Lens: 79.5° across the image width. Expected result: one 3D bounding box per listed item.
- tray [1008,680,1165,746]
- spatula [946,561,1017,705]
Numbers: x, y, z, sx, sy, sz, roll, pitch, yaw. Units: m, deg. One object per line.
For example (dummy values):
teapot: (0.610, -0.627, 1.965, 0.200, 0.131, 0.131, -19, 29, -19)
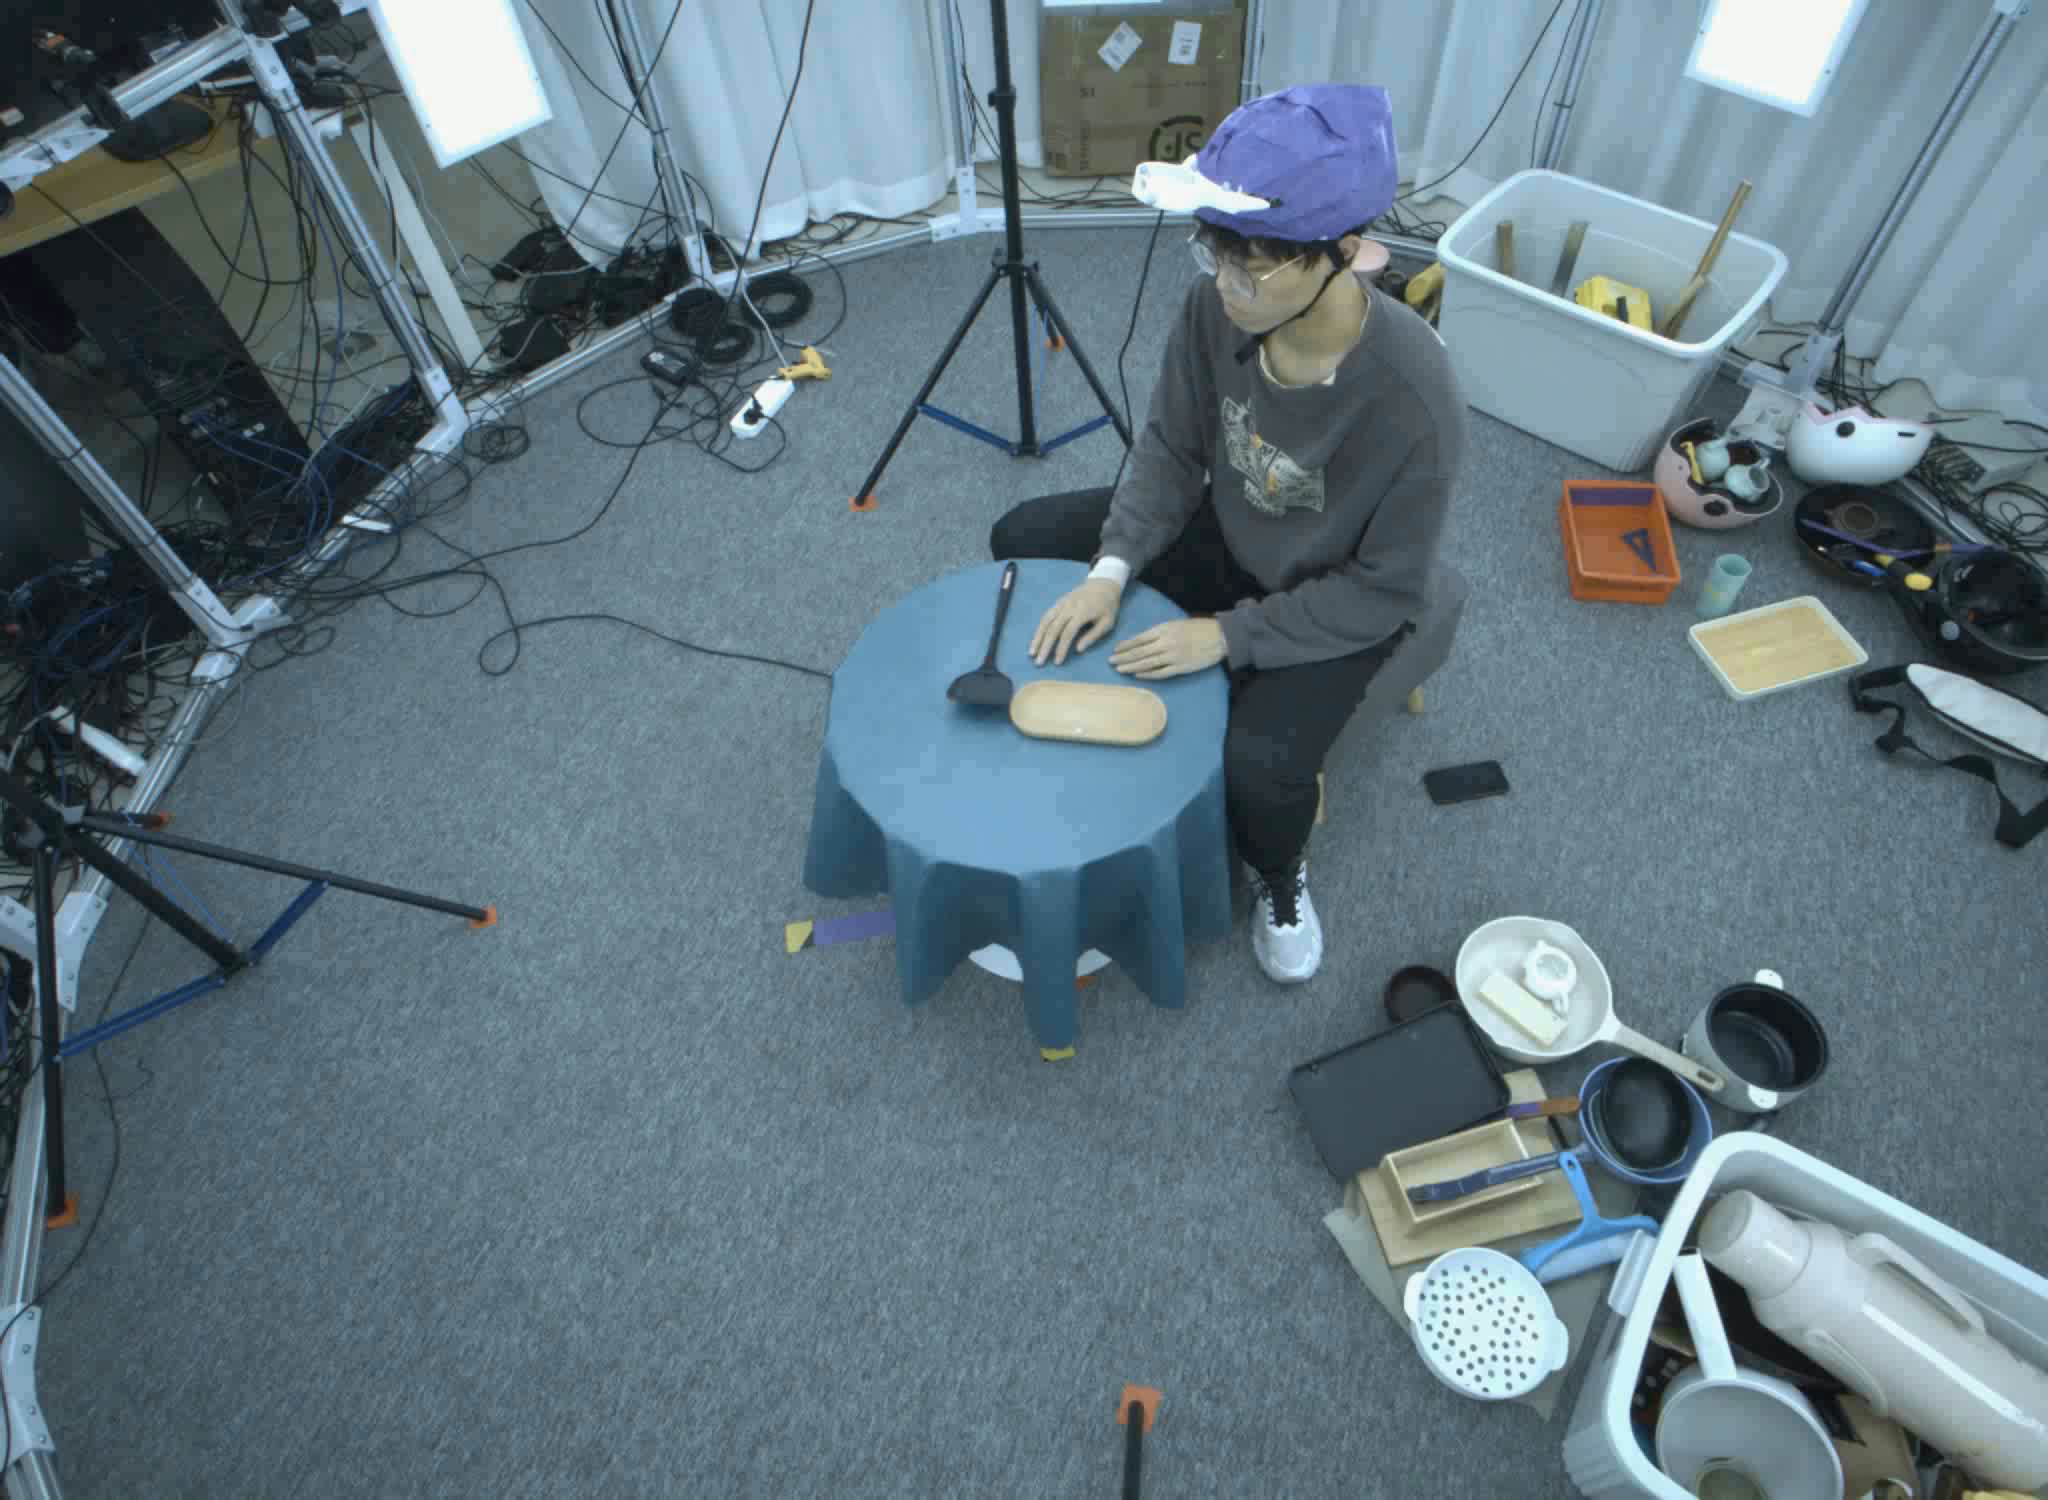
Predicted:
tray: (0.091, -0.054, 1.811, 0.230, 0.020, 0.101, 5, 54, 7)
spatula: (-0.044, -0.187, 1.899, 0.099, 0.041, 0.324, 7, 55, 5)
